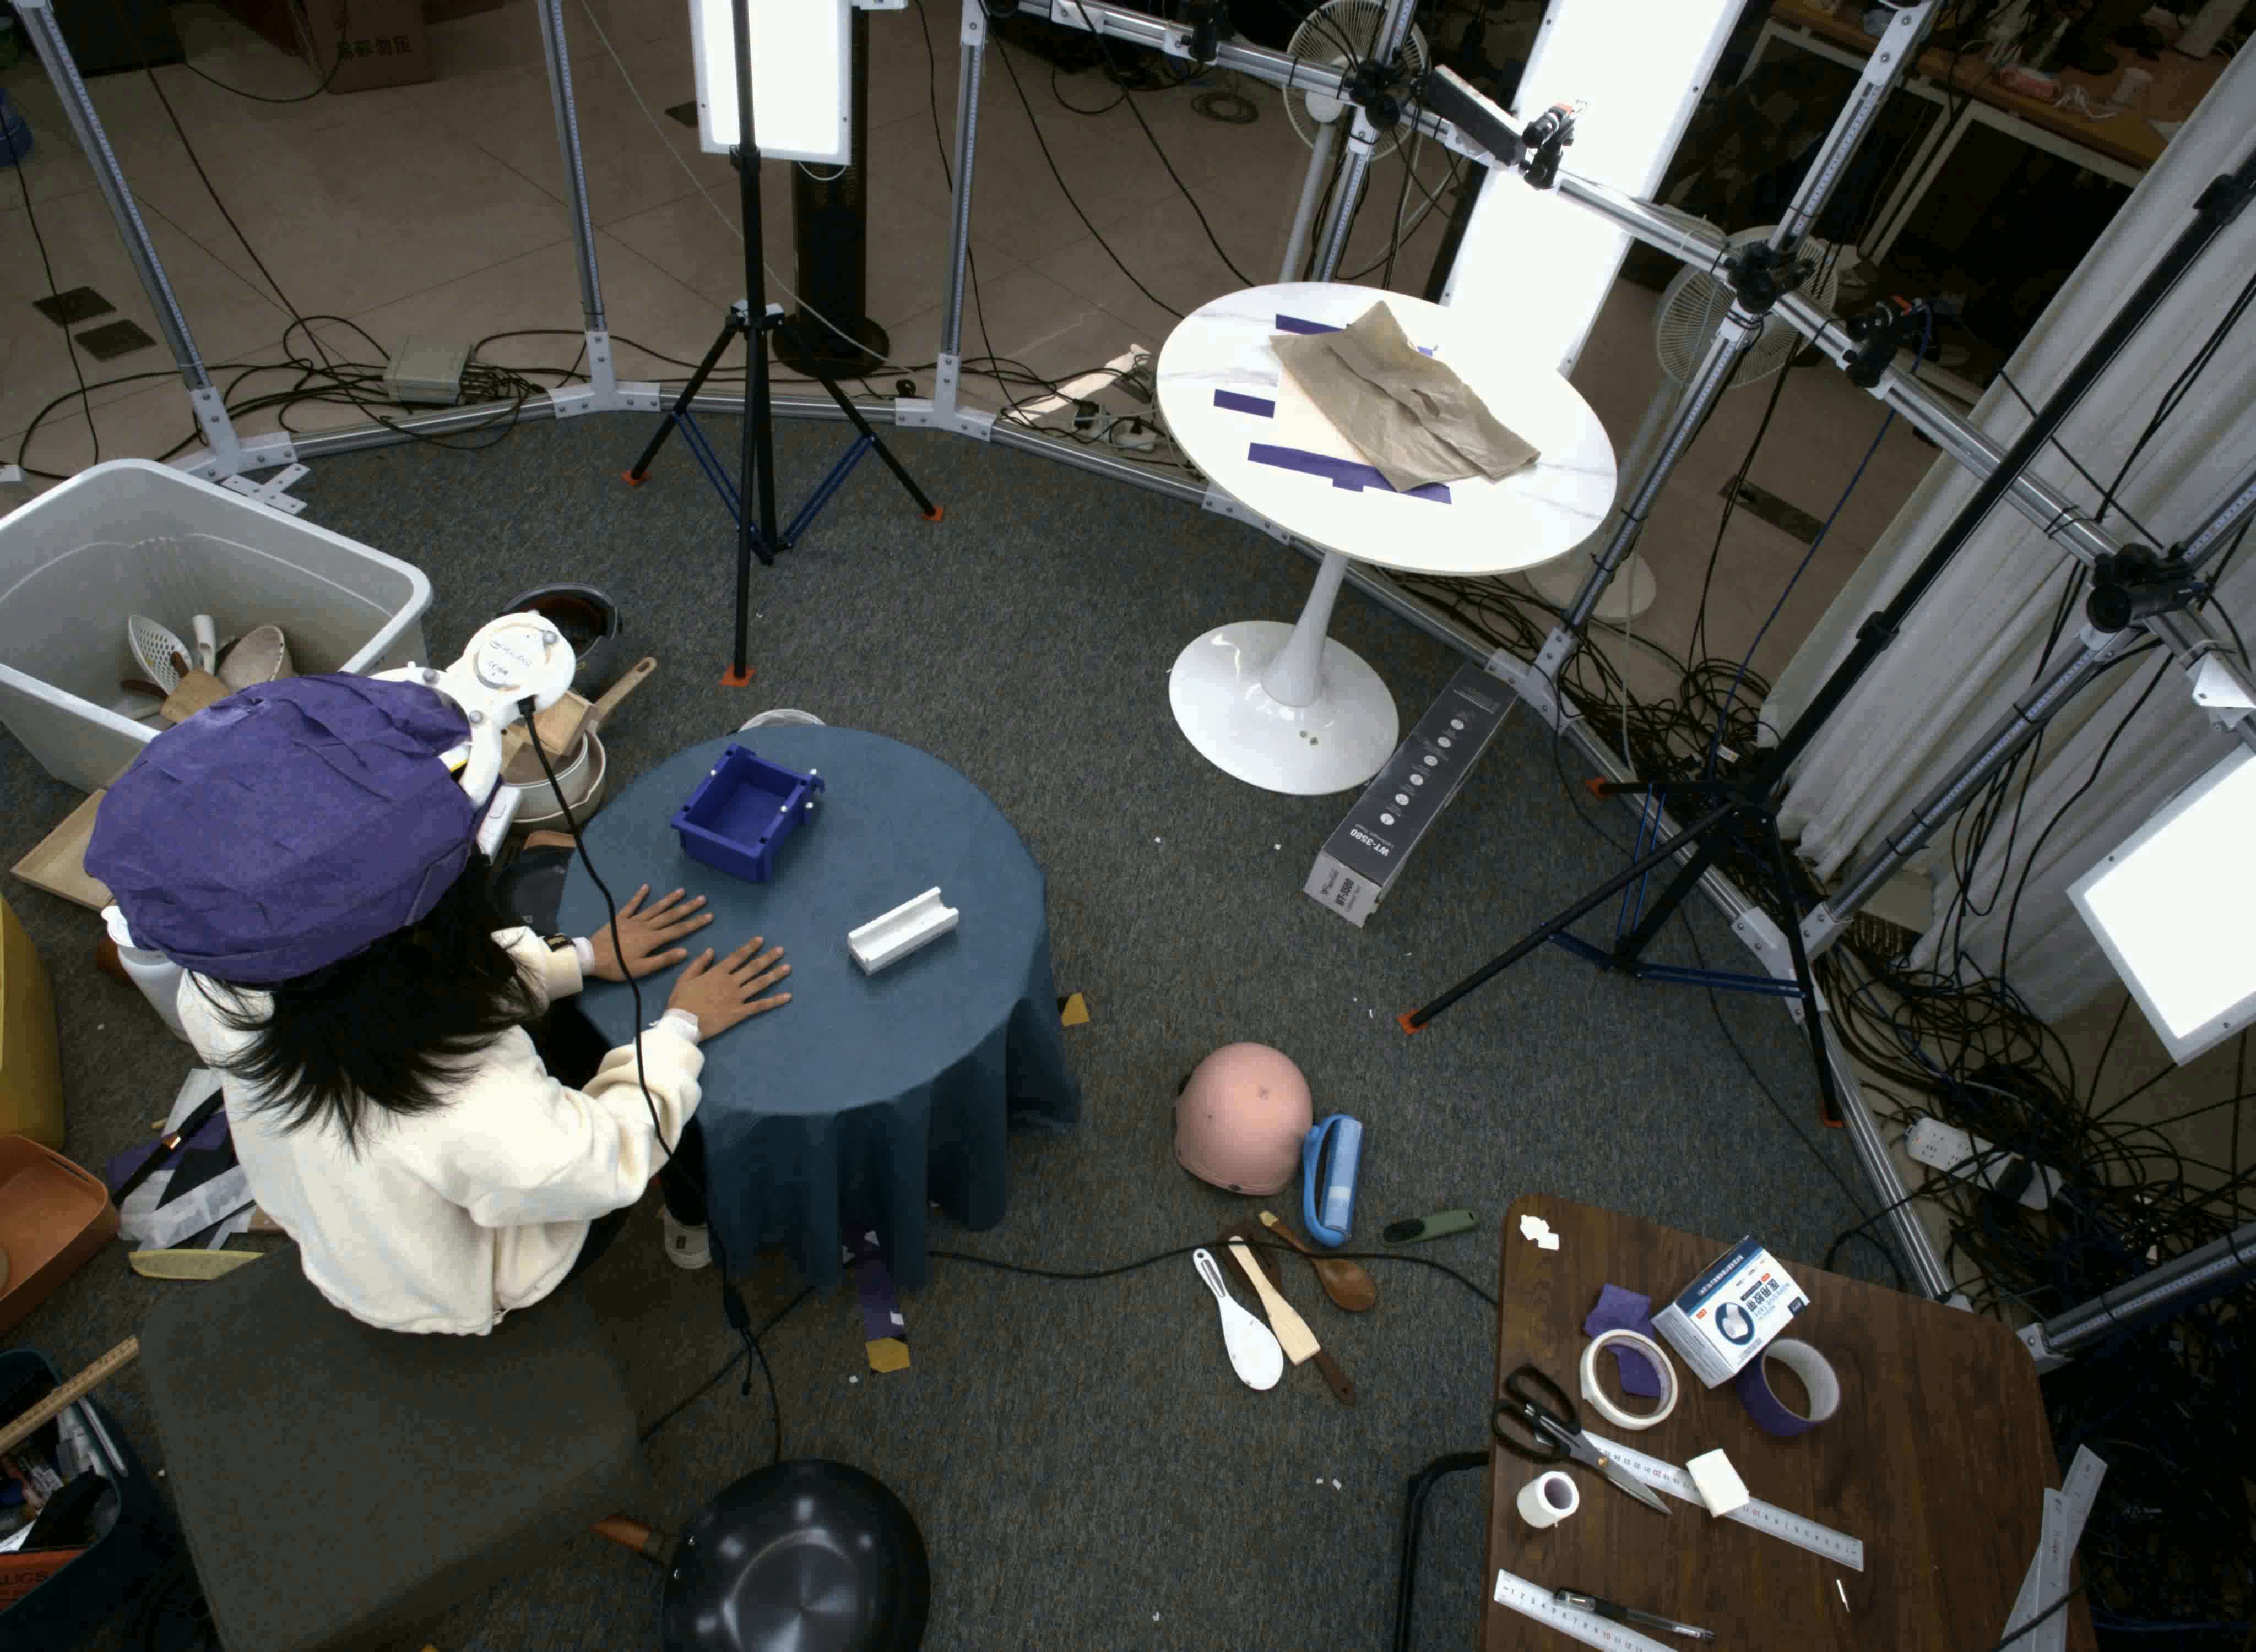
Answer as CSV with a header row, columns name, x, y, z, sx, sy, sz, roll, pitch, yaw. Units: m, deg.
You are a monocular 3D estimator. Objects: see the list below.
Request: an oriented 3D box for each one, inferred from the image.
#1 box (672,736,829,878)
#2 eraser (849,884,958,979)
name,x,y,z,sx,sy,sz,roll,pitch,yaw
box,-0.487,-0.031,1.673,0.123,0.083,0.178,23,54,4
eraser,-0.281,0.131,1.628,0.135,0.047,0.049,-32,68,-34
